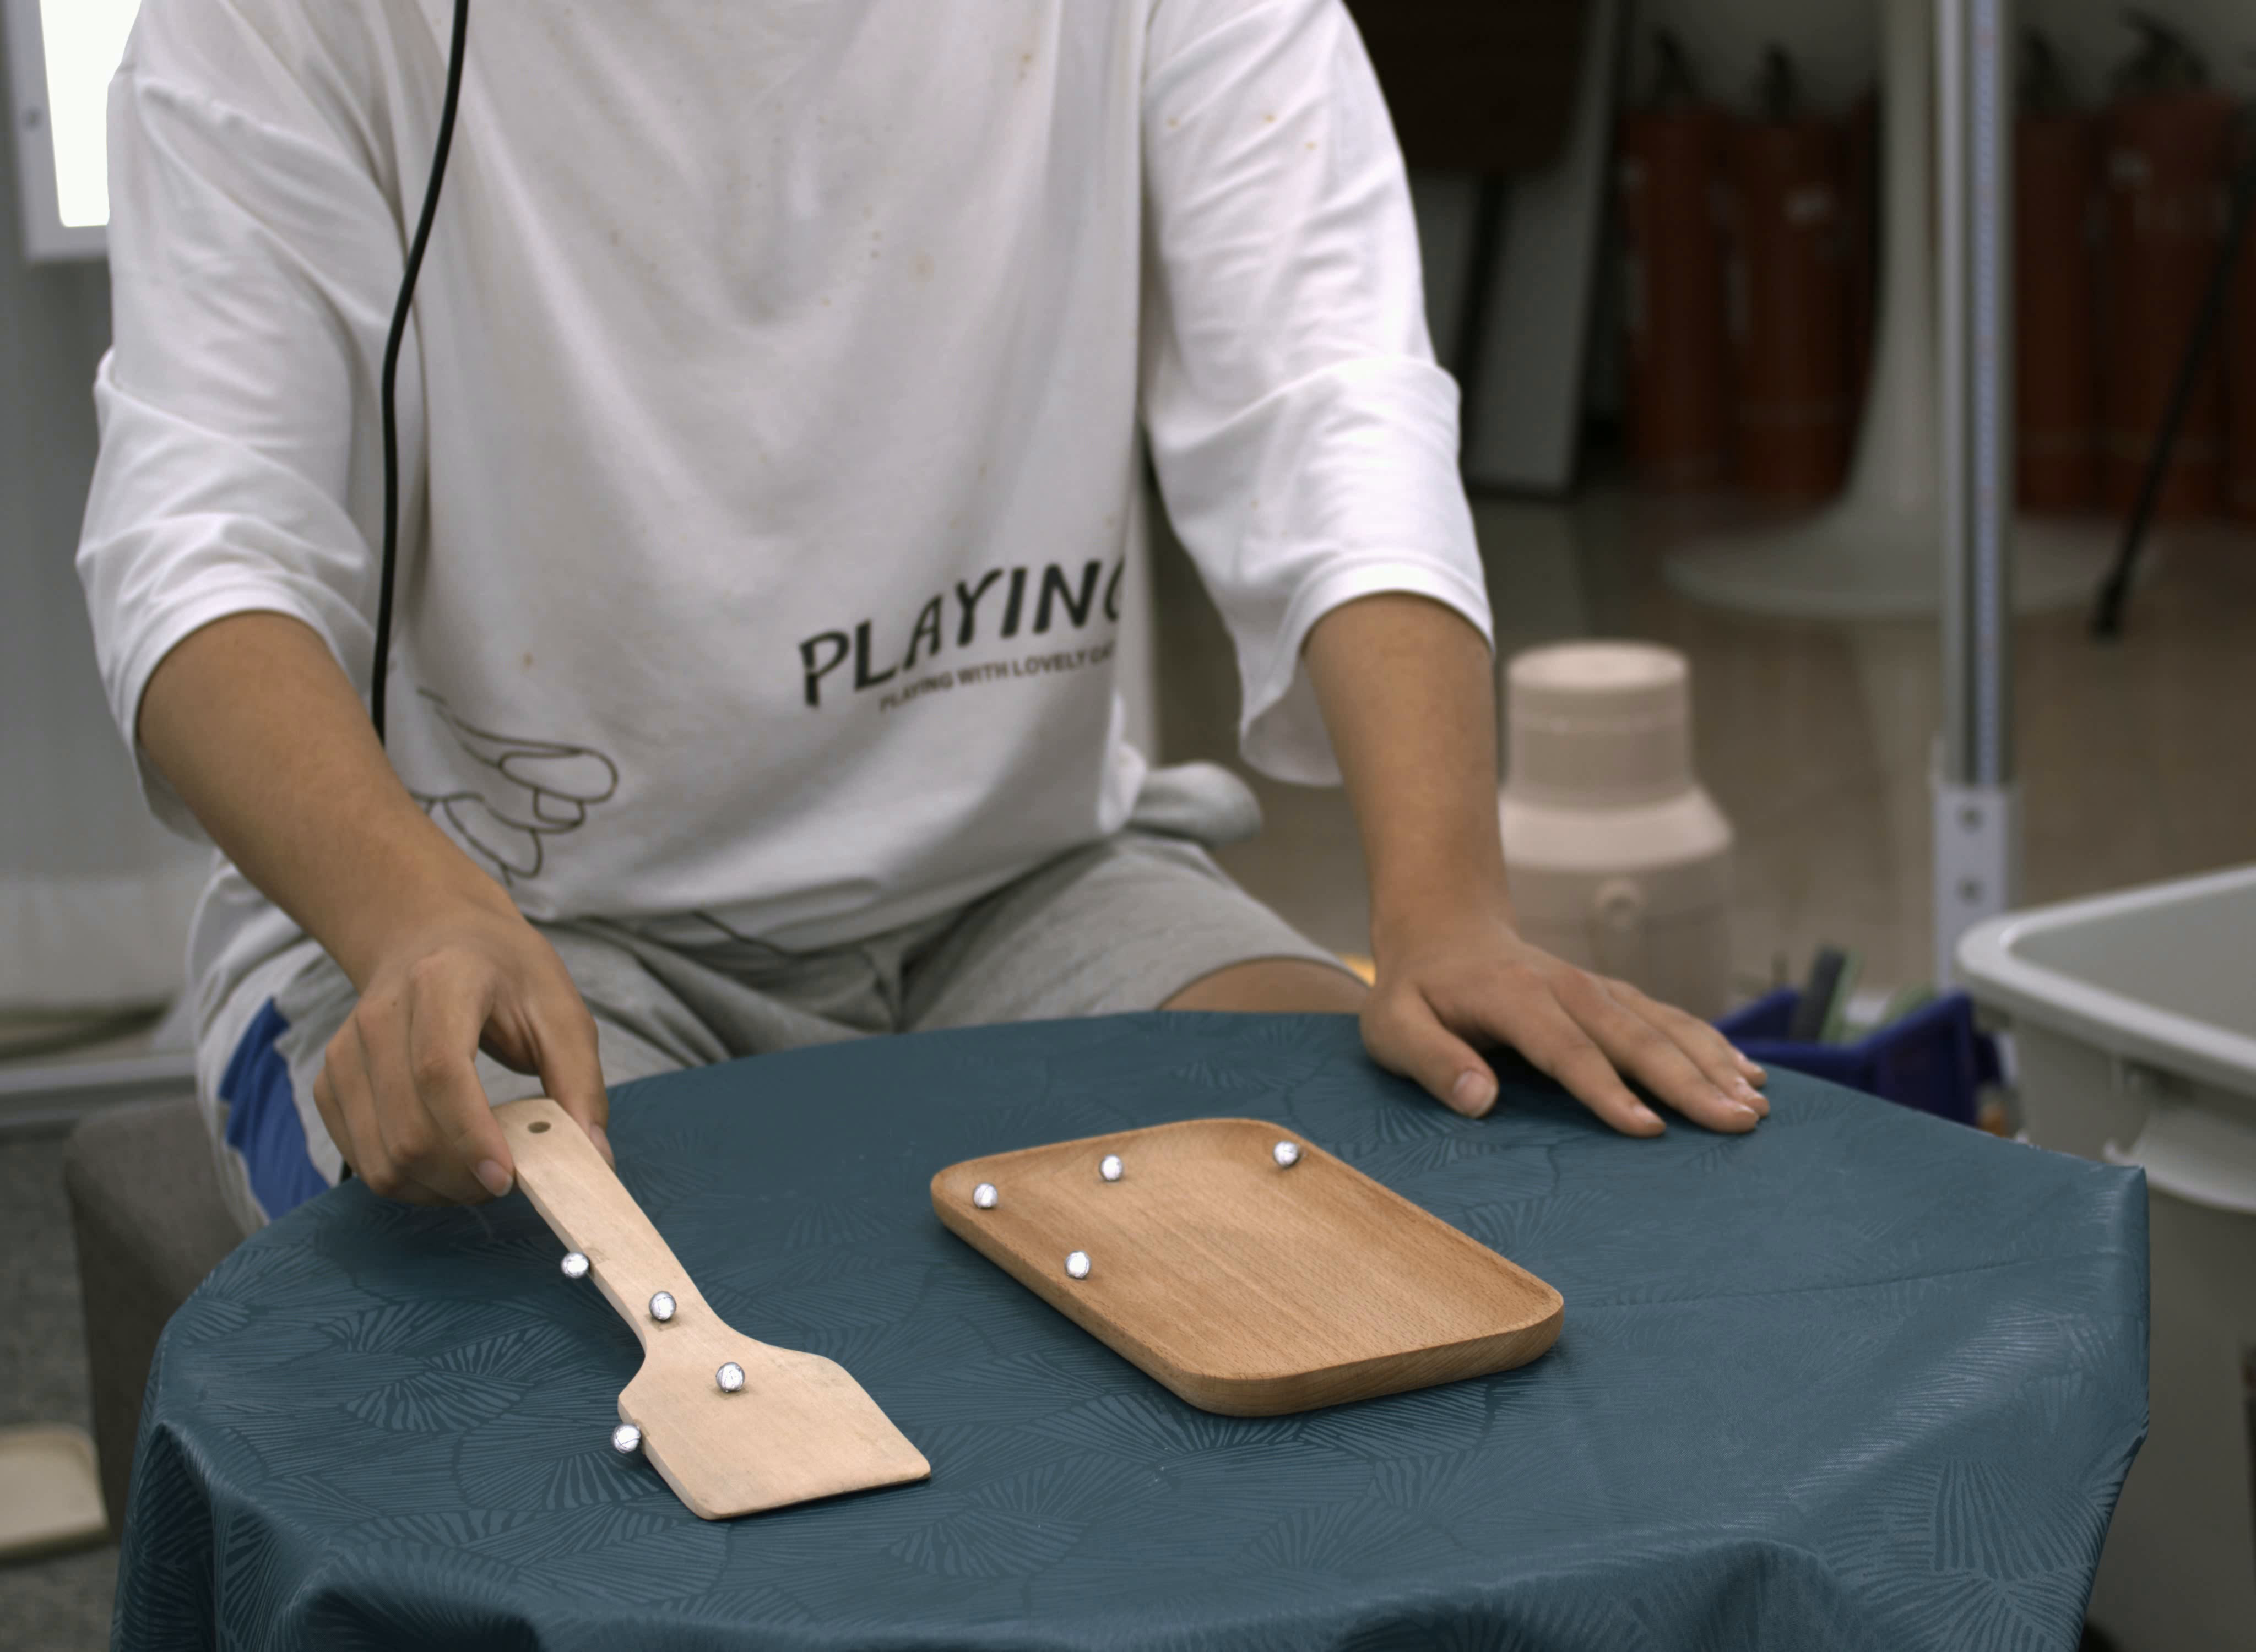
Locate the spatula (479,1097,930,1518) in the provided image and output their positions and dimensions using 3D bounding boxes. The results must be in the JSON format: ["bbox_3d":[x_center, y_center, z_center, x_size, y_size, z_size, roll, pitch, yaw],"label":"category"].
[{"bbox_3d":[-0.144,0.141,1.639,0.071,0.011,0.296,-9,23,-21],"label":"spatula"}]

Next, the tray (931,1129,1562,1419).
[{"bbox_3d":[0.033,0.136,1.671,0.128,0.023,0.253,-11,15,-19],"label":"tray"}]
